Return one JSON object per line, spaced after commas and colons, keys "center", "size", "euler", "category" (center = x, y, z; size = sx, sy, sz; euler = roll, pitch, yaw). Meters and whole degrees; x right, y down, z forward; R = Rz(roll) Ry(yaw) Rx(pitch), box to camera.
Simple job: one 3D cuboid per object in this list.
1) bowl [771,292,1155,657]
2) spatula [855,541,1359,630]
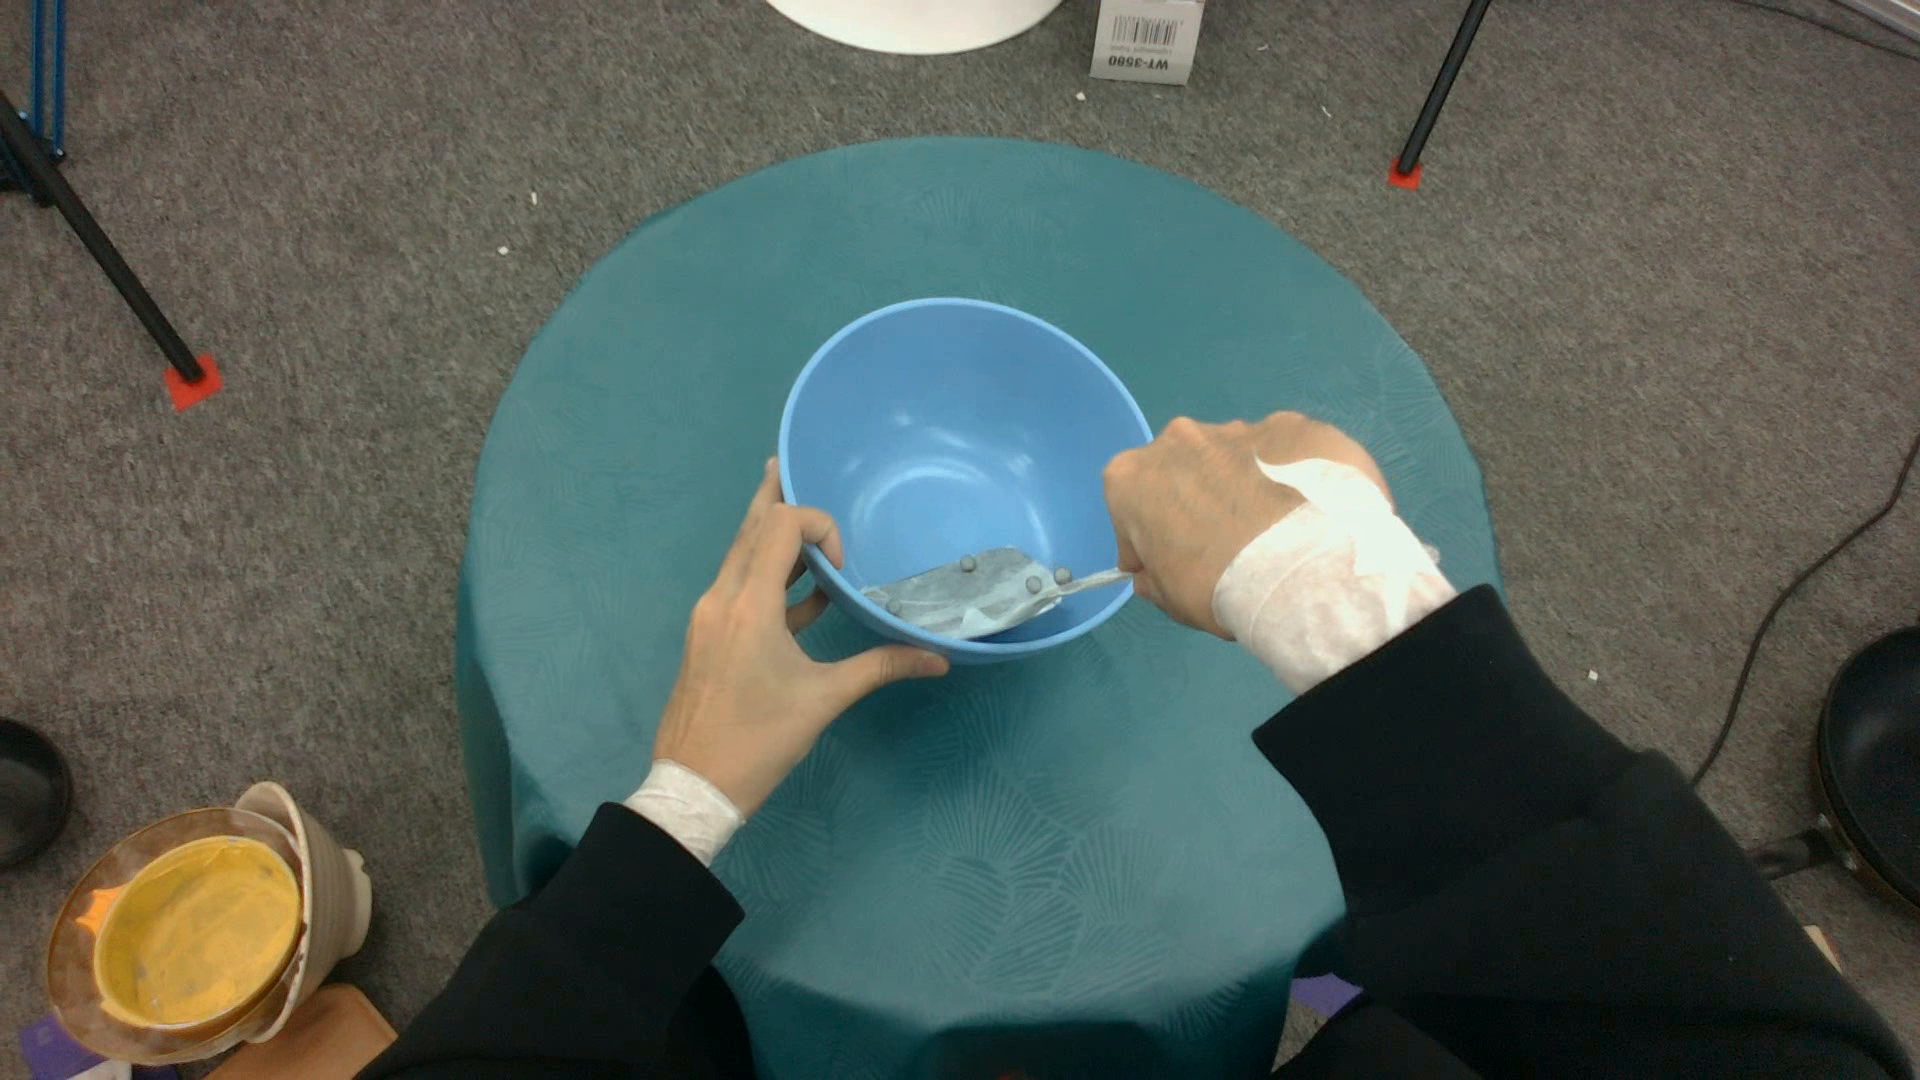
{"center": [-0.008, -0.021, 0.713], "size": [0.196, 0.095, 0.197], "euler": [8, 62, -15], "category": "bowl"}
{"center": [0.047, 0.011, 0.568], "size": [0.099, 0.364, 0.045], "euler": [-15, 89, -23], "category": "spatula"}
